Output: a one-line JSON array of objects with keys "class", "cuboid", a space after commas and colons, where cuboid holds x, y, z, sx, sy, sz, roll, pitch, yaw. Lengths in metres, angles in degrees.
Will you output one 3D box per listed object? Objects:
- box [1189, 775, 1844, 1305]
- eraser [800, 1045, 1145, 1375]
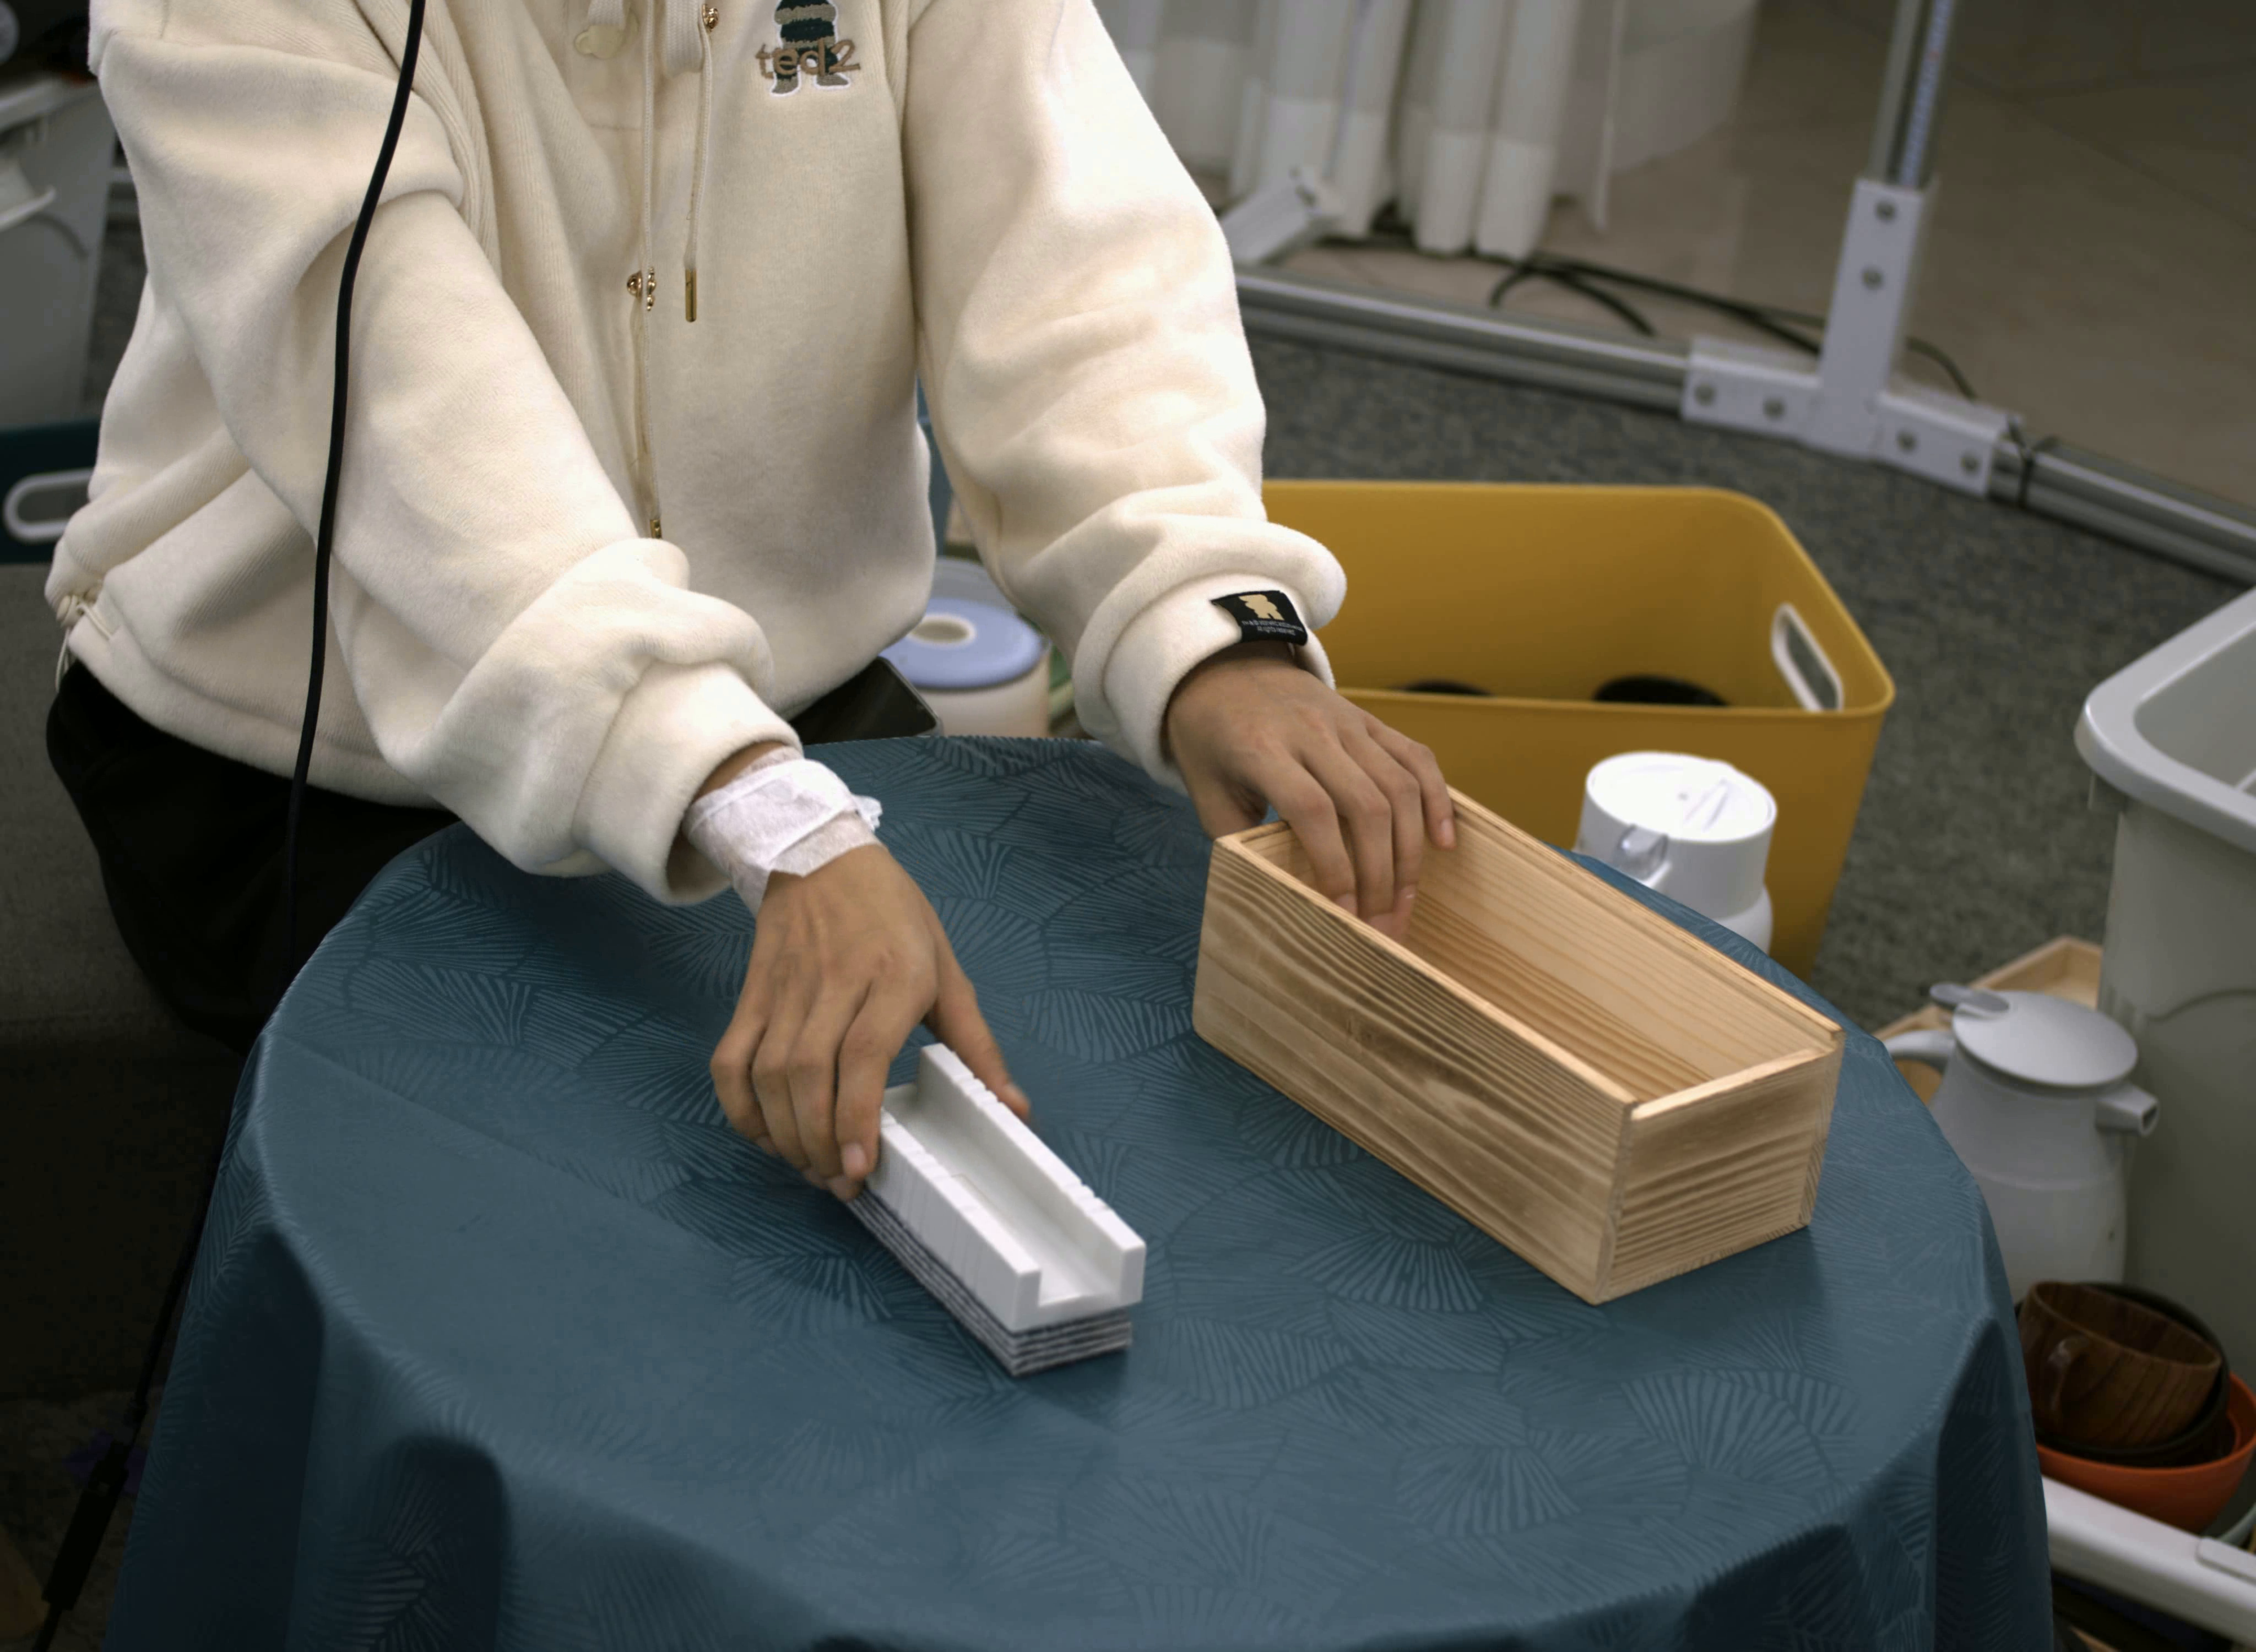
[{"class": "box", "cuboid": [0.131, 0.070, 1.849, 0.107, 0.080, 0.213, -15, 35, -37]}, {"class": "eraser", "cuboid": [-0.052, 0.124, 1.737, 0.049, 0.046, 0.135, -14, 35, -31]}]
